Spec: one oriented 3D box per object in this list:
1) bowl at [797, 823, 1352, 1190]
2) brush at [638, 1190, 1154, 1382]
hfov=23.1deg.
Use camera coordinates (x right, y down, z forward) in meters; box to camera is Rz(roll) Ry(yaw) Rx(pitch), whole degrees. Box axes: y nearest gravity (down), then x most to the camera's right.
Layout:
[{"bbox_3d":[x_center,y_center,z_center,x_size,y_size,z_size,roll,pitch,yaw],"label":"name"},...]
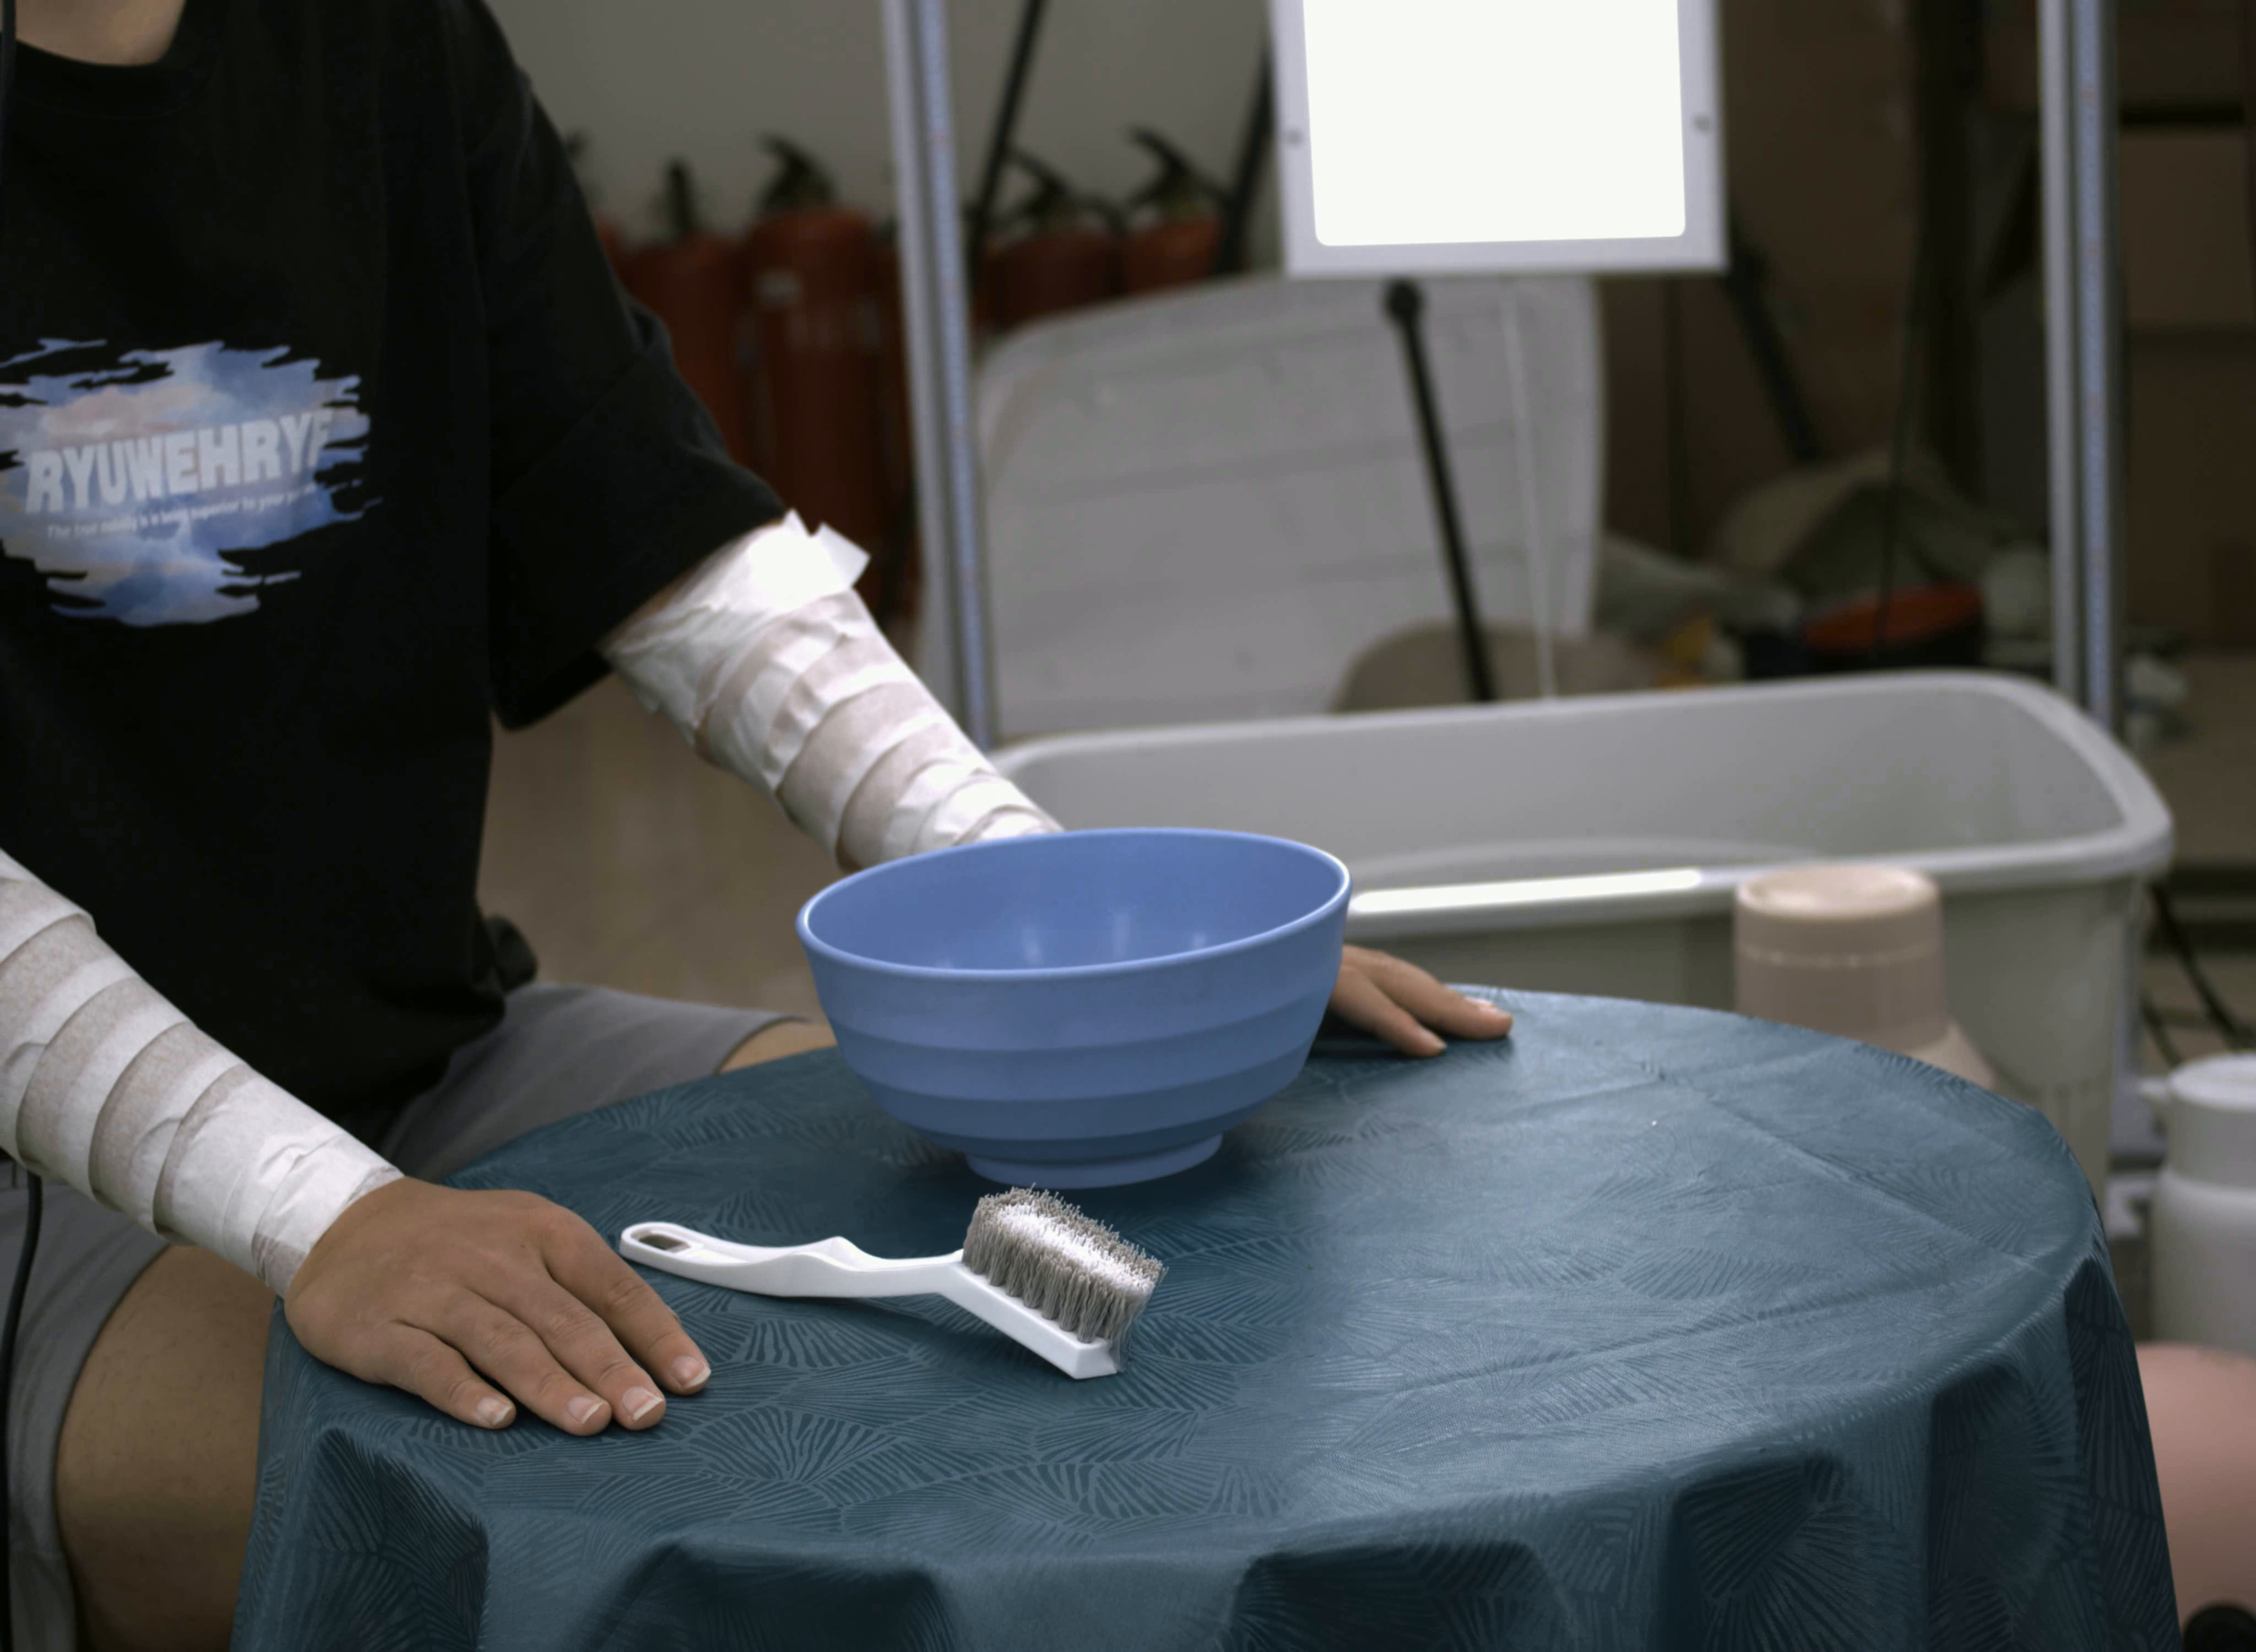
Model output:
[{"bbox_3d":[-0.015,0.069,1.939,0.196,0.096,0.196,-6,14,0],"label":"bowl"},{"bbox_3d":[-0.082,0.133,1.794,0.033,0.050,0.249,-20,20,-38],"label":"brush"}]
